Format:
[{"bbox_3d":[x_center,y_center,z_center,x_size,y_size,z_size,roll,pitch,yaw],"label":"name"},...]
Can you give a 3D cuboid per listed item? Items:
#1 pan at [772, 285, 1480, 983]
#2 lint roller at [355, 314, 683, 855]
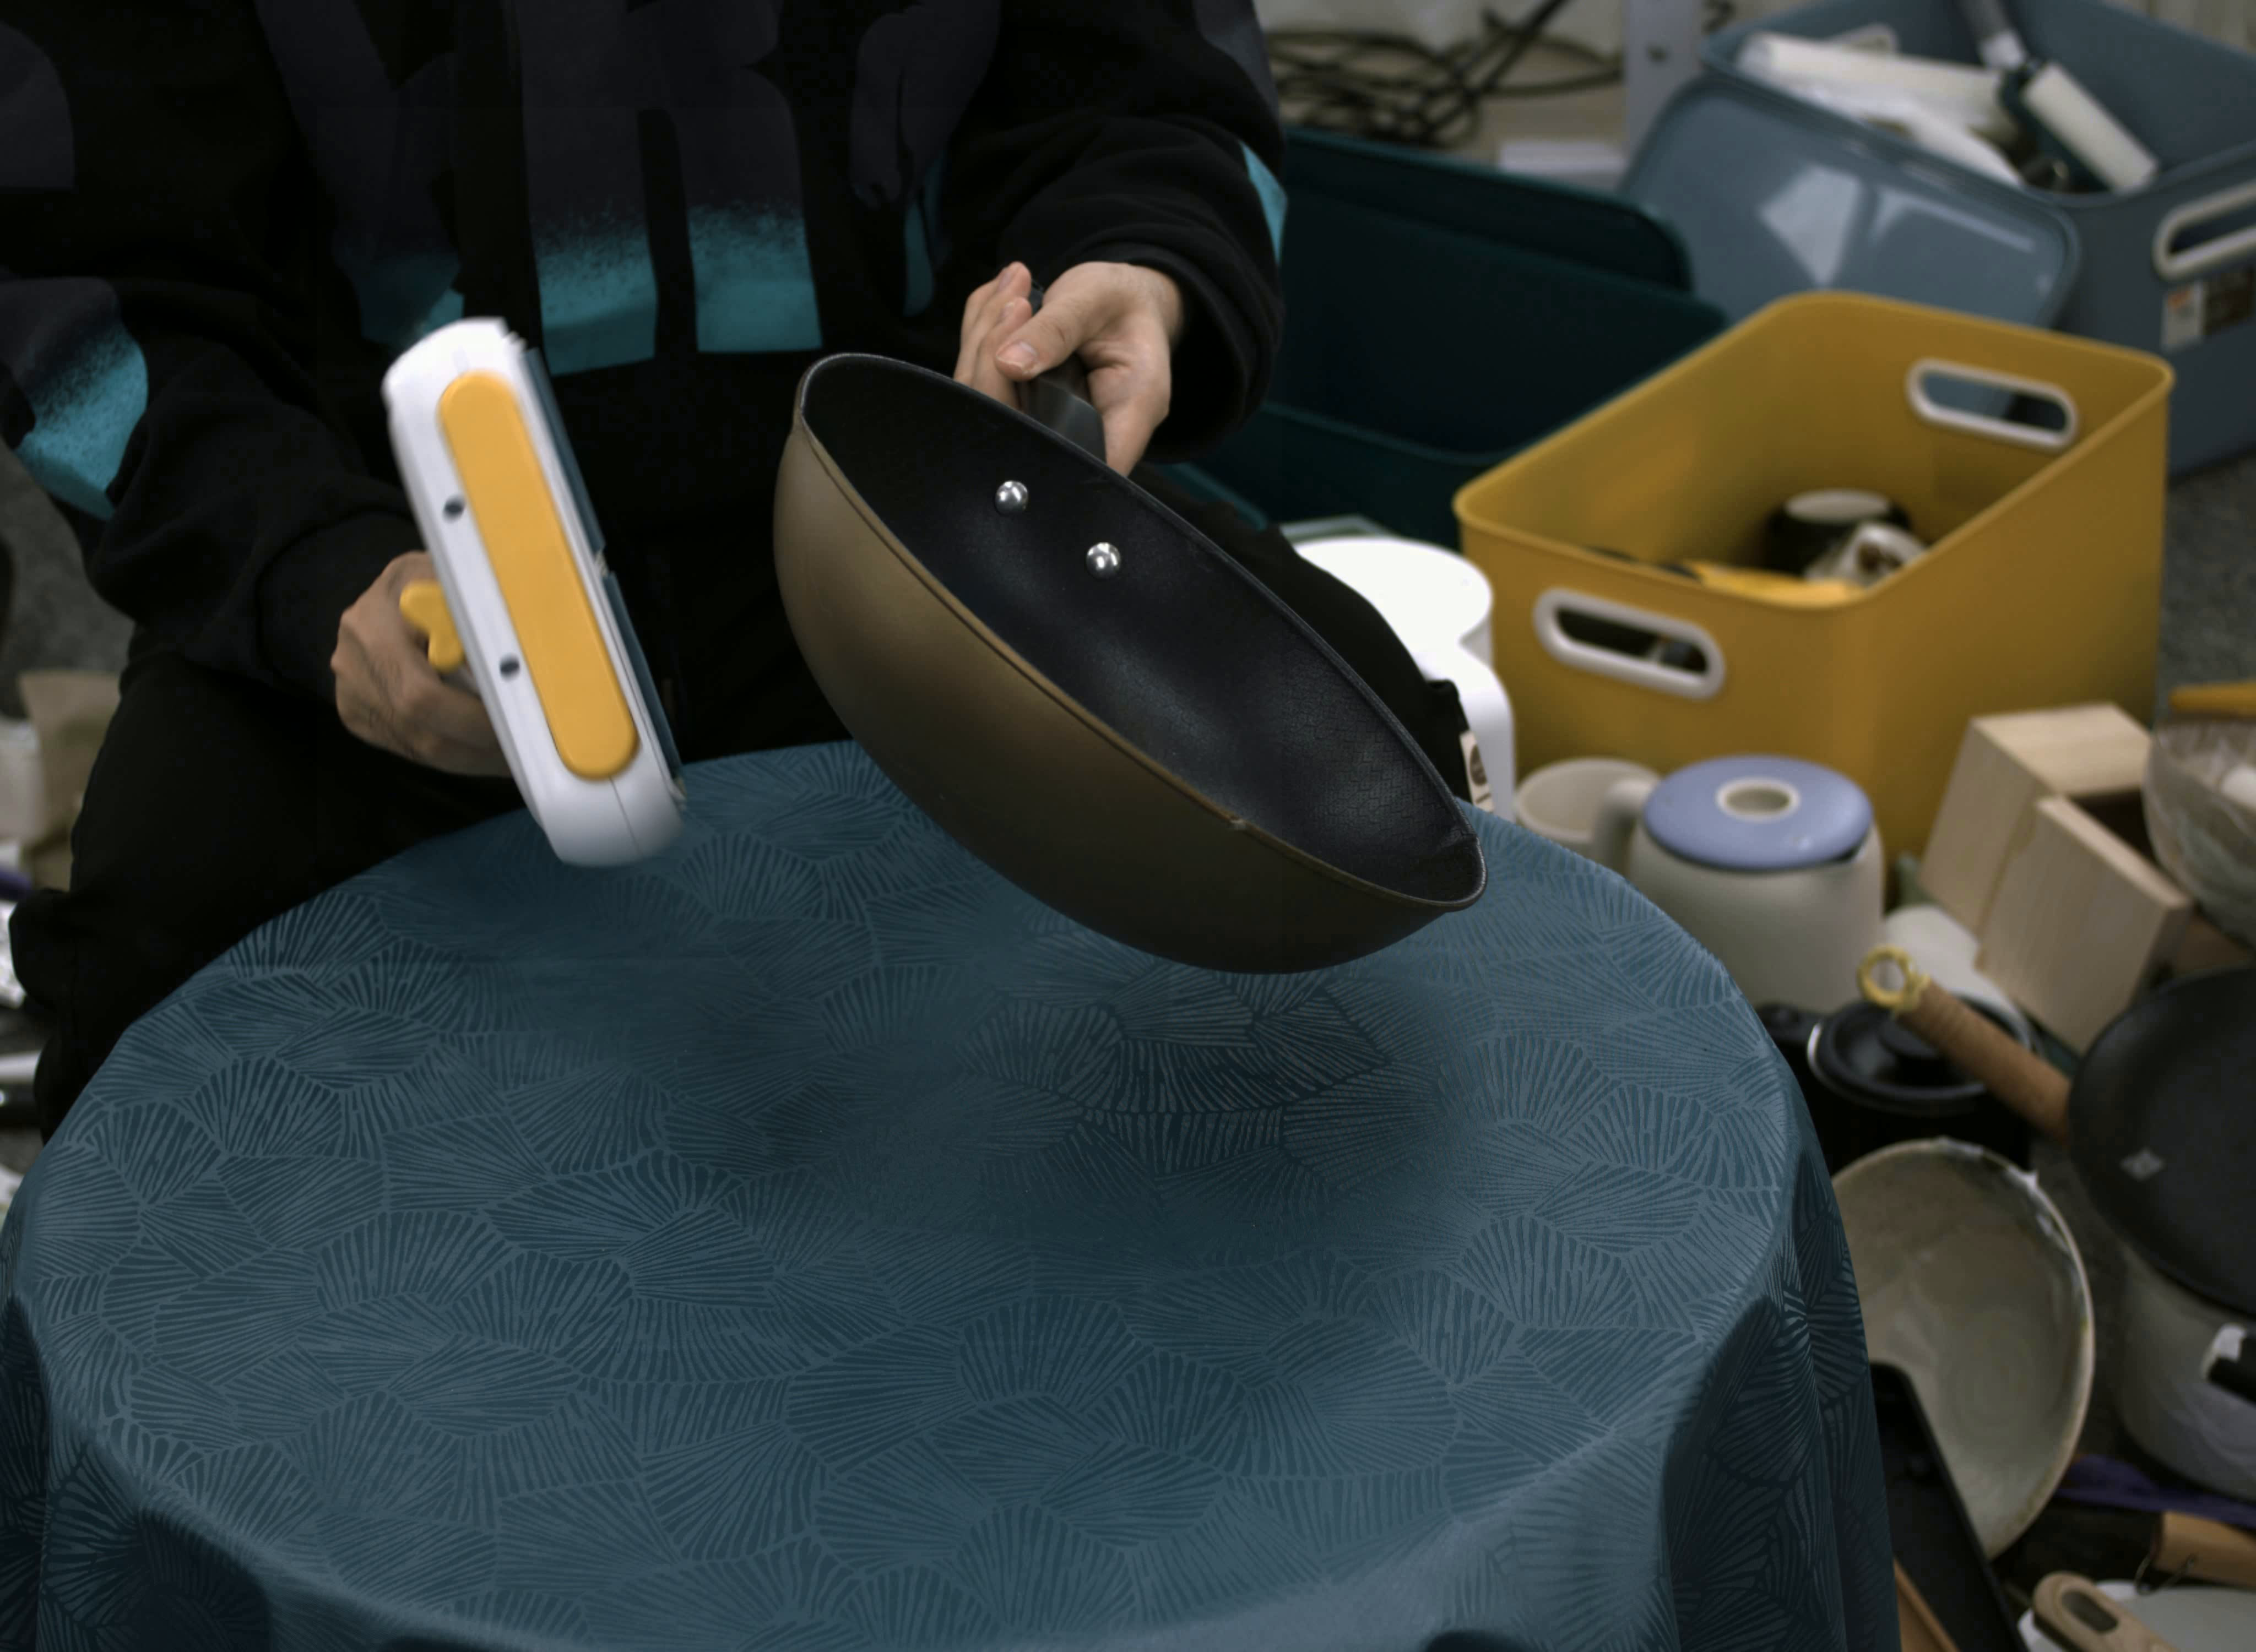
[{"bbox_3d":[-0.028,-0.078,1.946,0.287,0.086,0.469,33,17,-21],"label":"pan"},{"bbox_3d":[-0.218,-0.064,1.959,0.074,0.194,0.190,-26,-9,-13],"label":"lint roller"}]
